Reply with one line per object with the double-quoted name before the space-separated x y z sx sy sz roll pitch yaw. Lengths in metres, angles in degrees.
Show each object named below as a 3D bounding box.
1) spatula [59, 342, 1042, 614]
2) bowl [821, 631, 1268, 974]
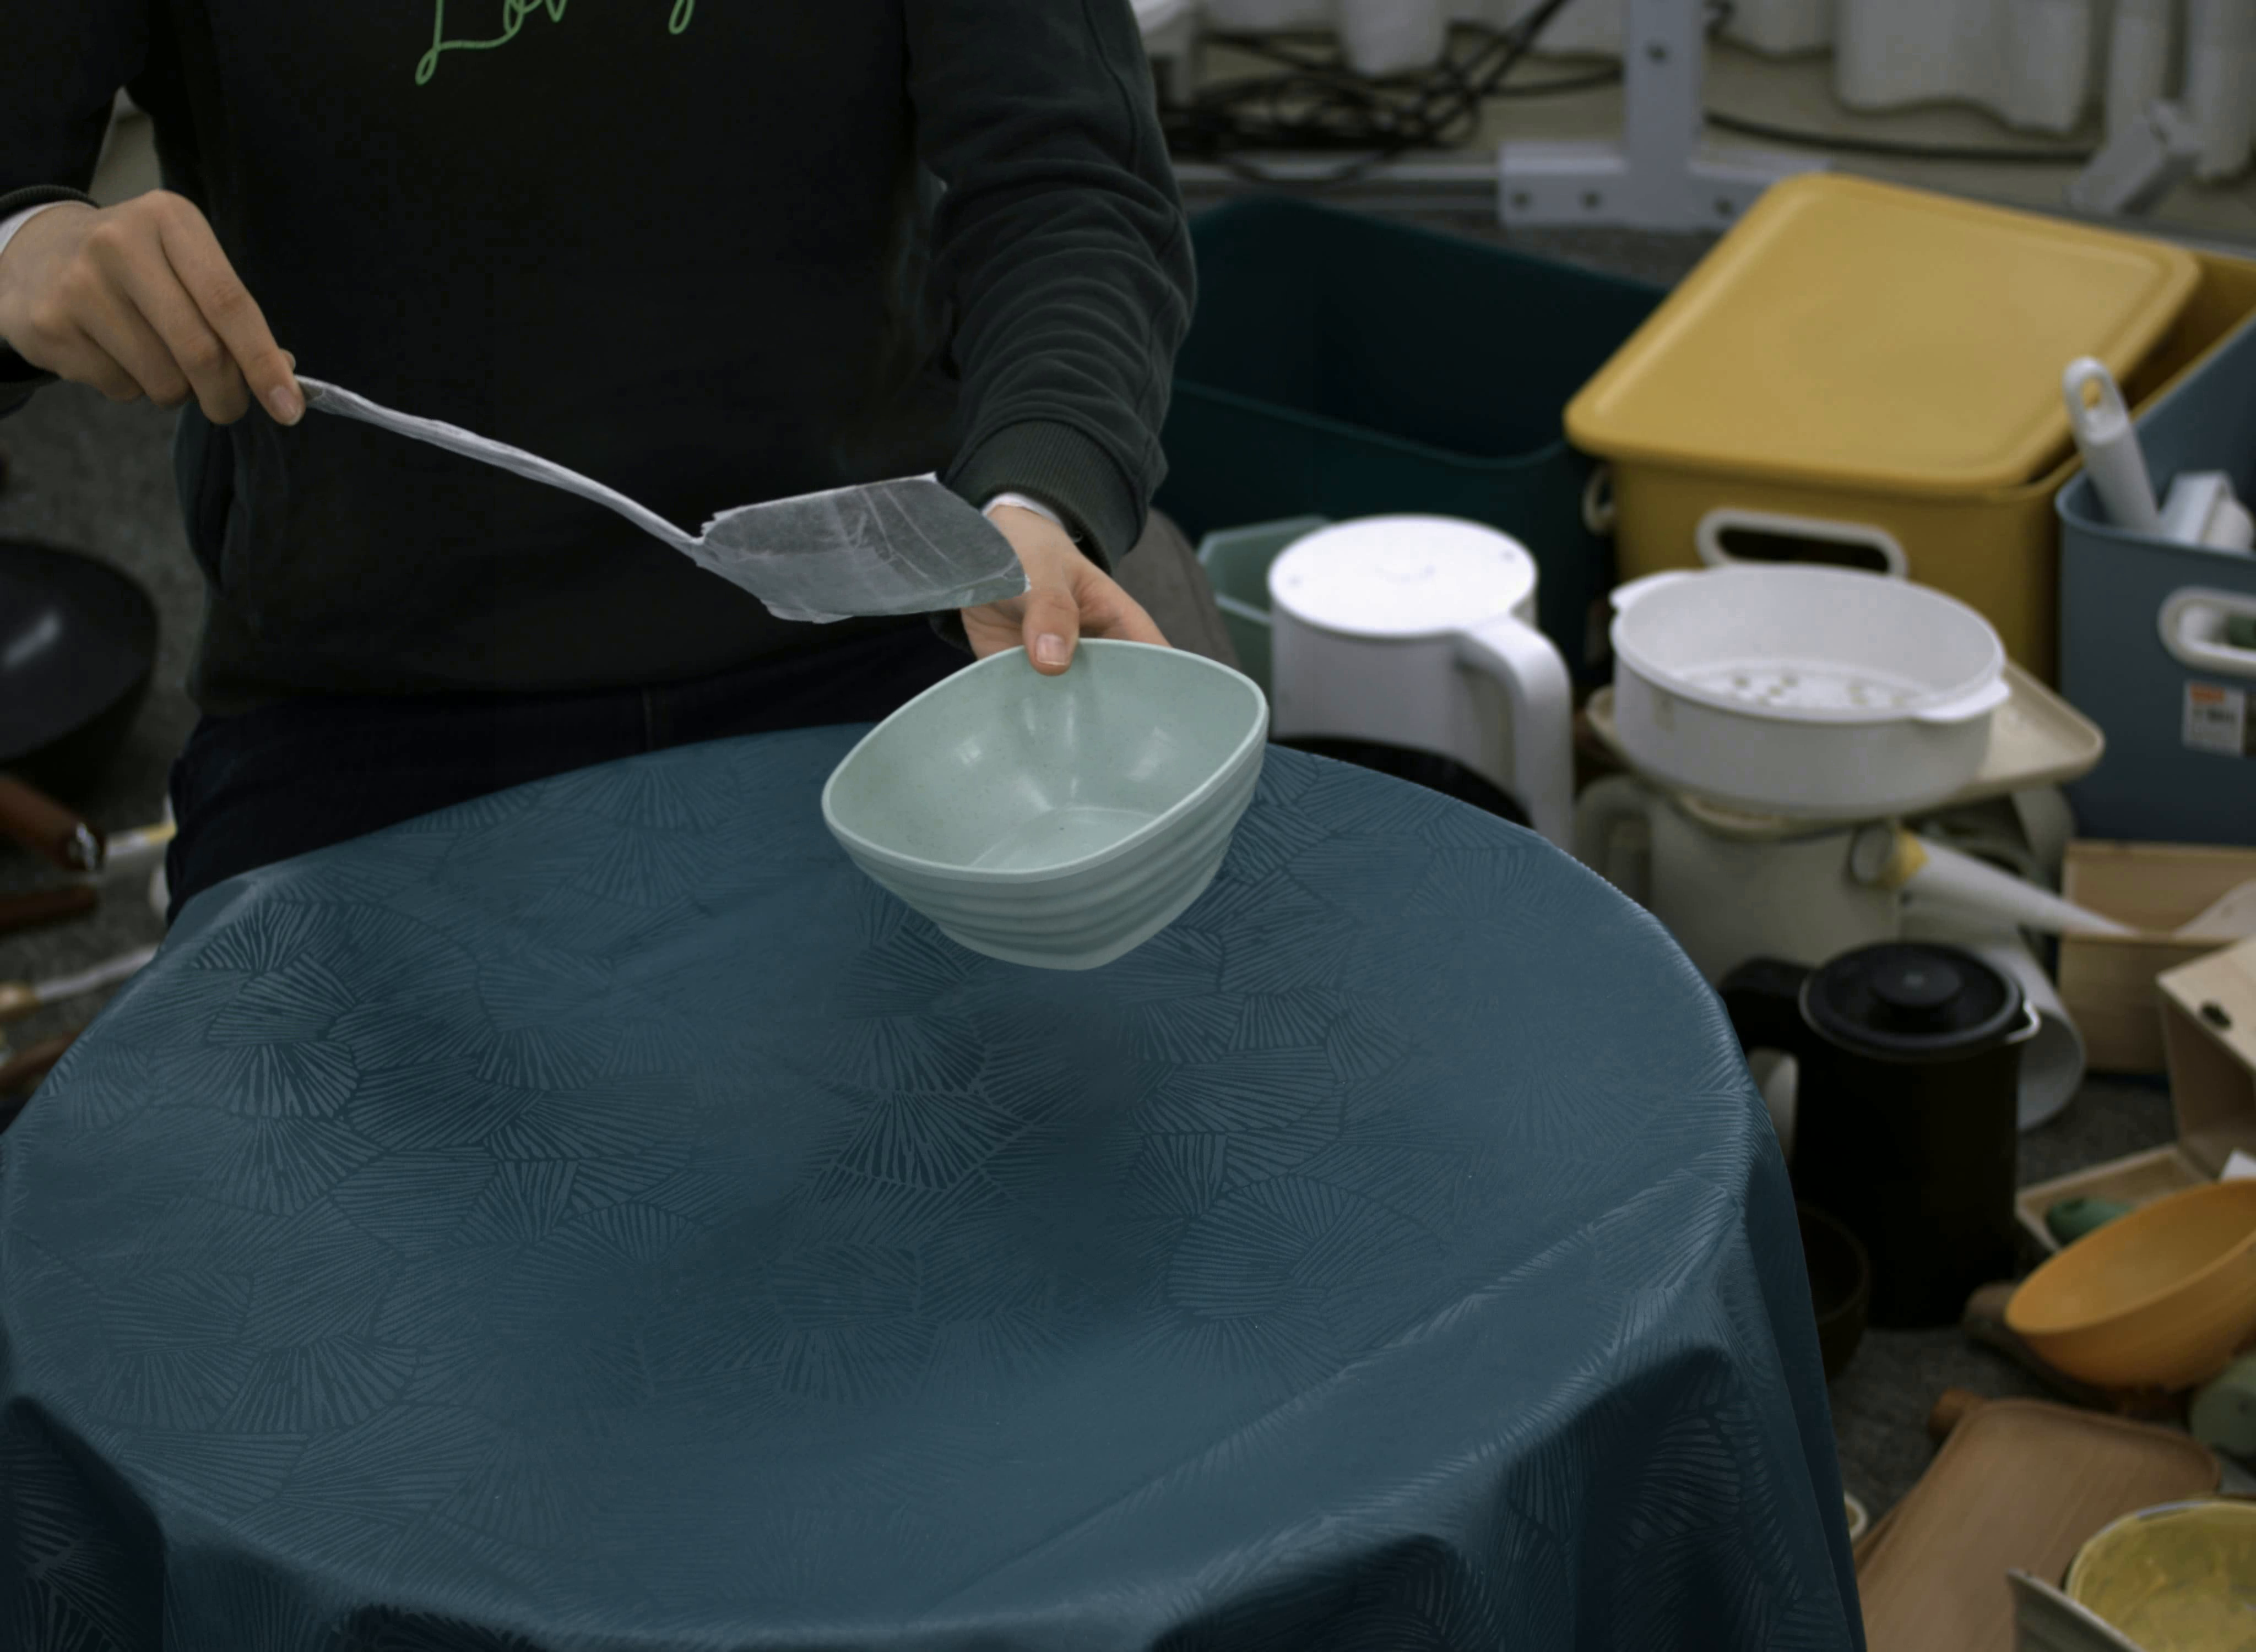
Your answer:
"spatula" -0.201 -0.125 1.860 0.363 0.098 0.045 18 74 22
"bowl" -0.023 -0.001 1.867 0.150 0.058 0.154 -9 32 6
